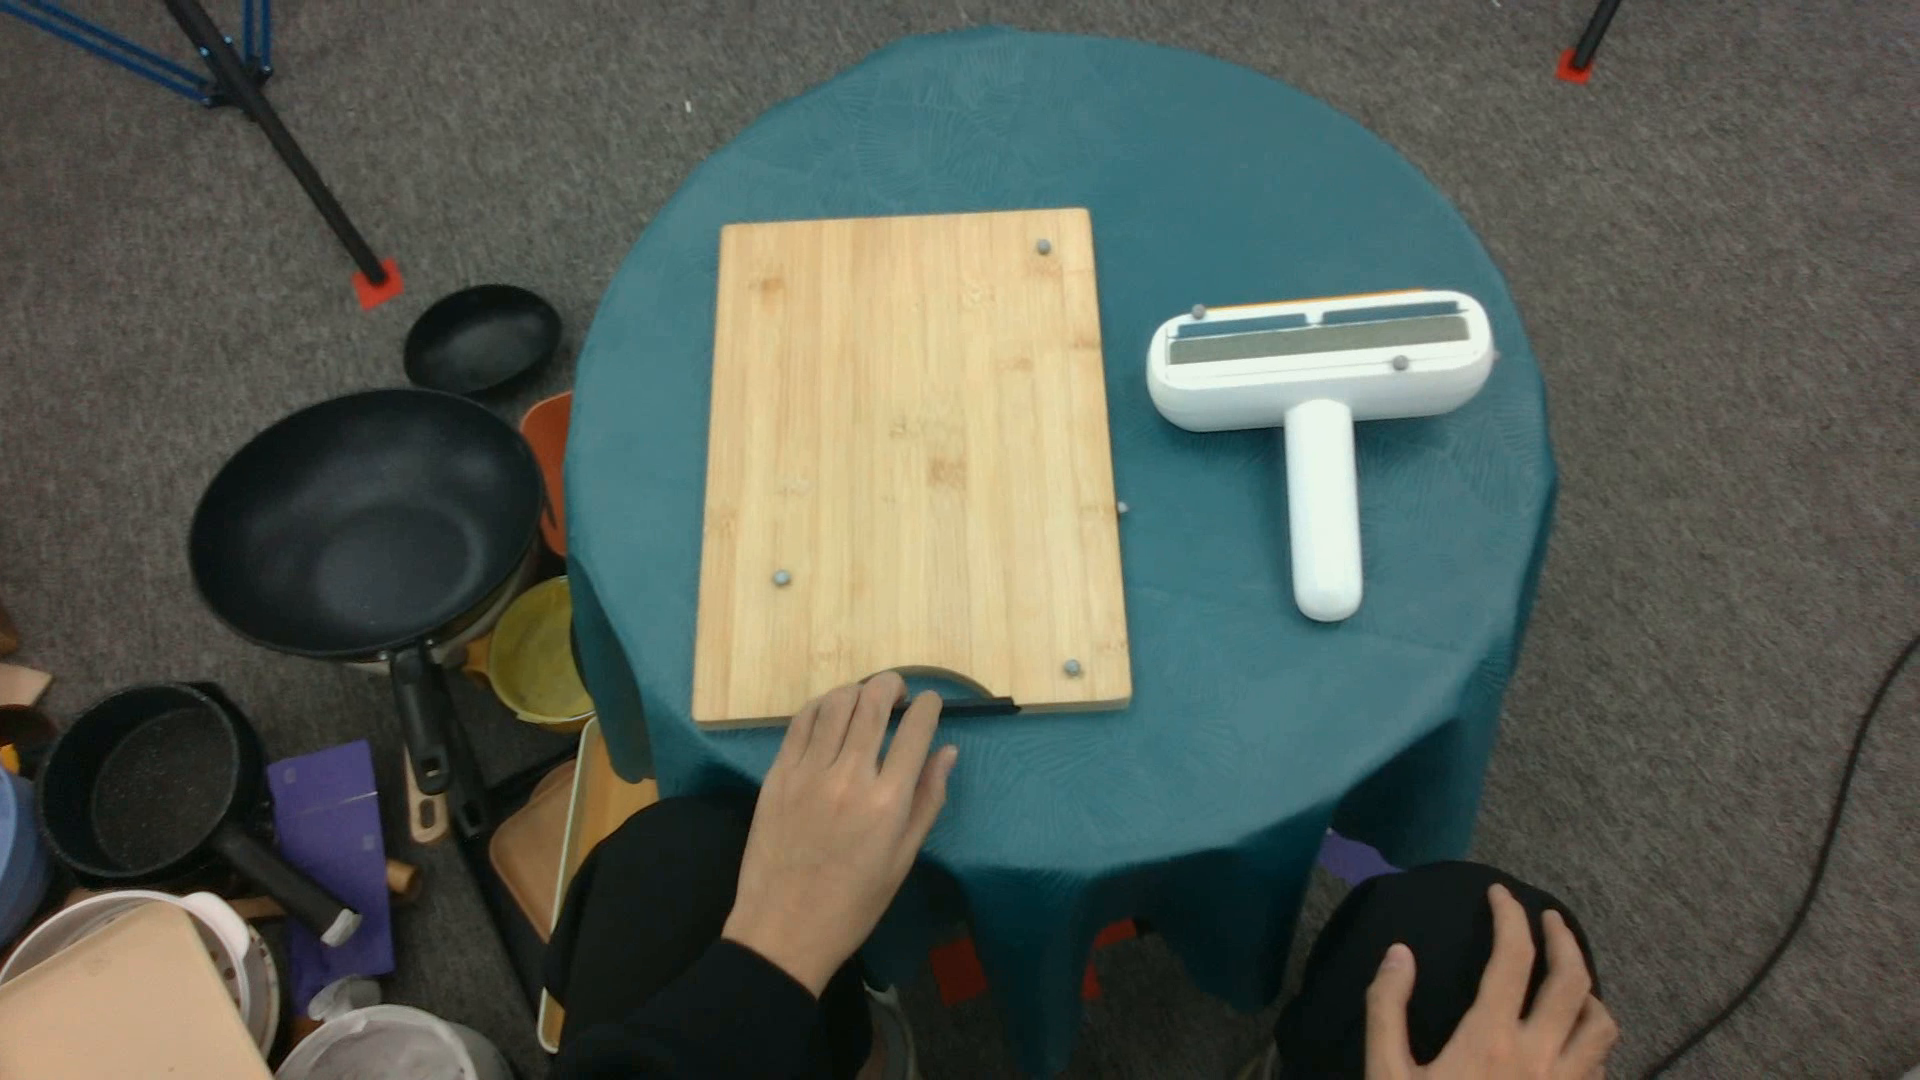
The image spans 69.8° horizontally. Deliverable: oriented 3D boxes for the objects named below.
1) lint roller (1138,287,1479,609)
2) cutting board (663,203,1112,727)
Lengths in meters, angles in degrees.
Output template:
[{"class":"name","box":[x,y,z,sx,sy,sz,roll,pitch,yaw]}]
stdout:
[{"class":"lint roller","box":[0.197,-0.058,0.791,0.193,0.074,0.193,2,65,8]},{"class":"cutting board","box":[-0.044,-0.060,0.823,0.251,0.023,0.350,-3,63,-1]}]
